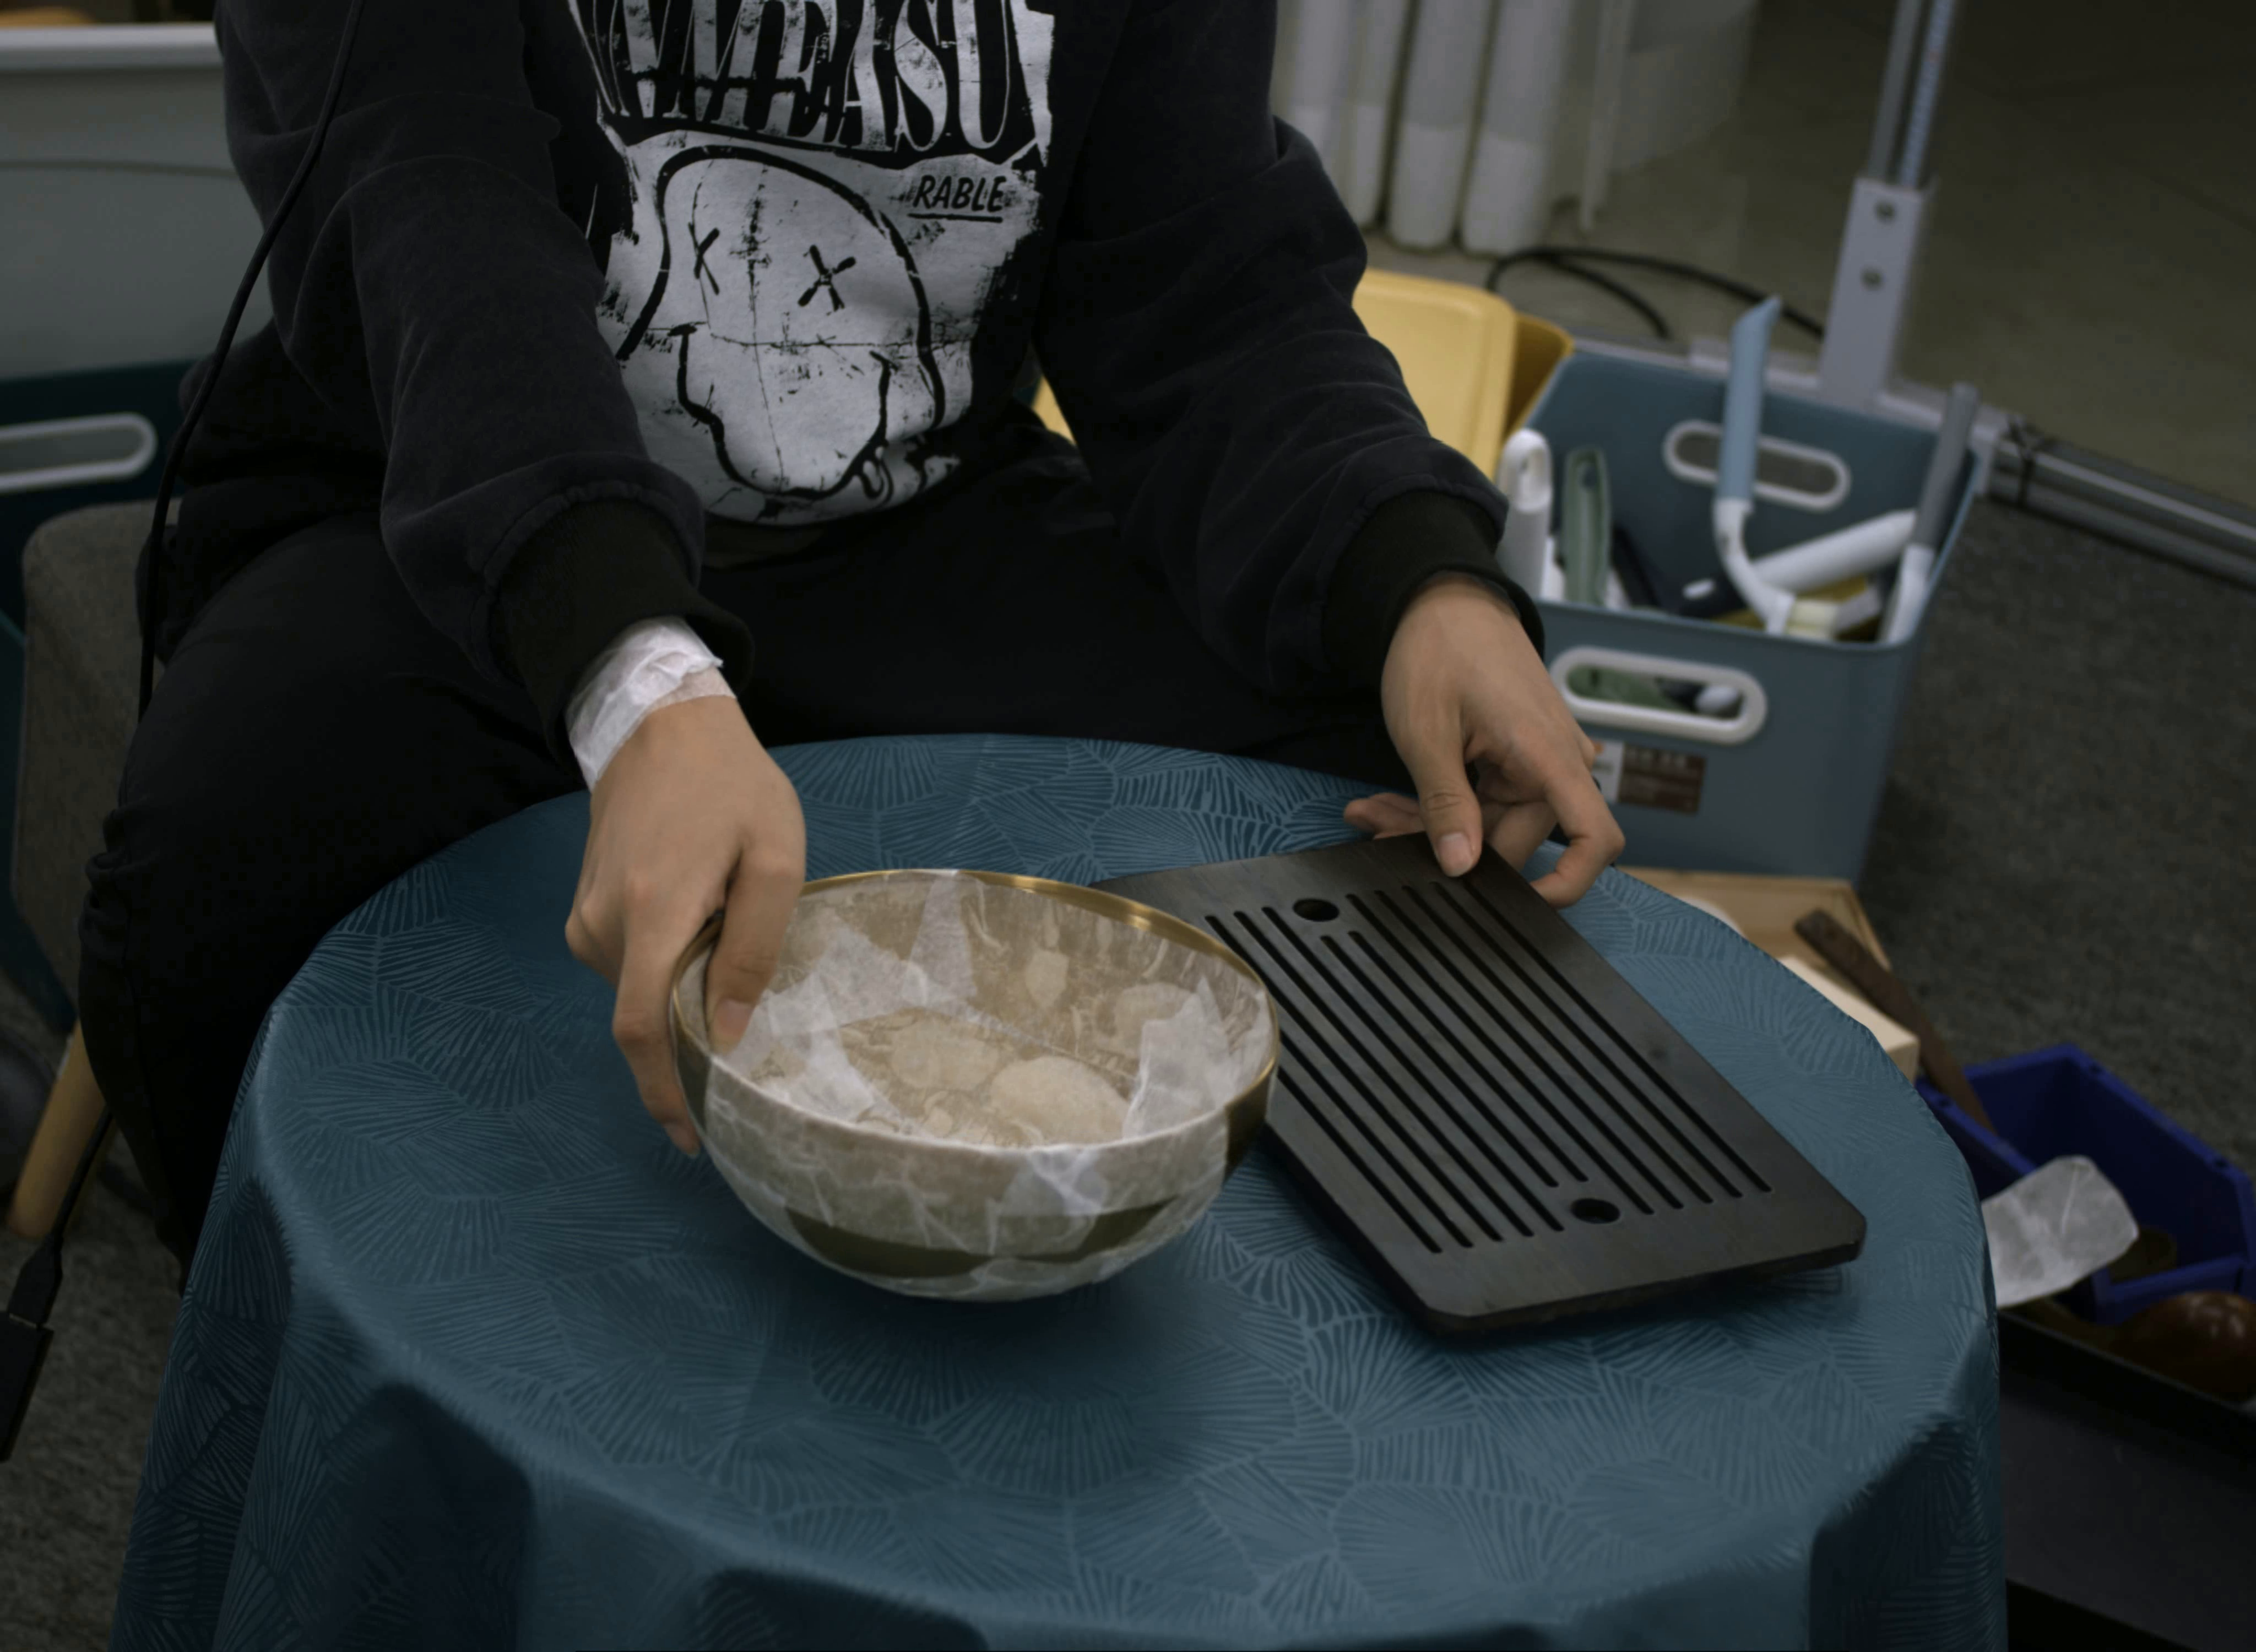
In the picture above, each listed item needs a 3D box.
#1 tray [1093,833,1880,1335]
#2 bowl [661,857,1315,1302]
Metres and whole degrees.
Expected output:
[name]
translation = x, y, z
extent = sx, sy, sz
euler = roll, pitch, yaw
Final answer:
[tray]
translation = 0.118, 0.087, 1.873
extent = 0.169, 0.018, 0.309
euler = -8, 30, -23
[bowl]
translation = -0.050, 0.094, 1.740
extent = 0.214, 0.094, 0.216
euler = 4, 24, -2
